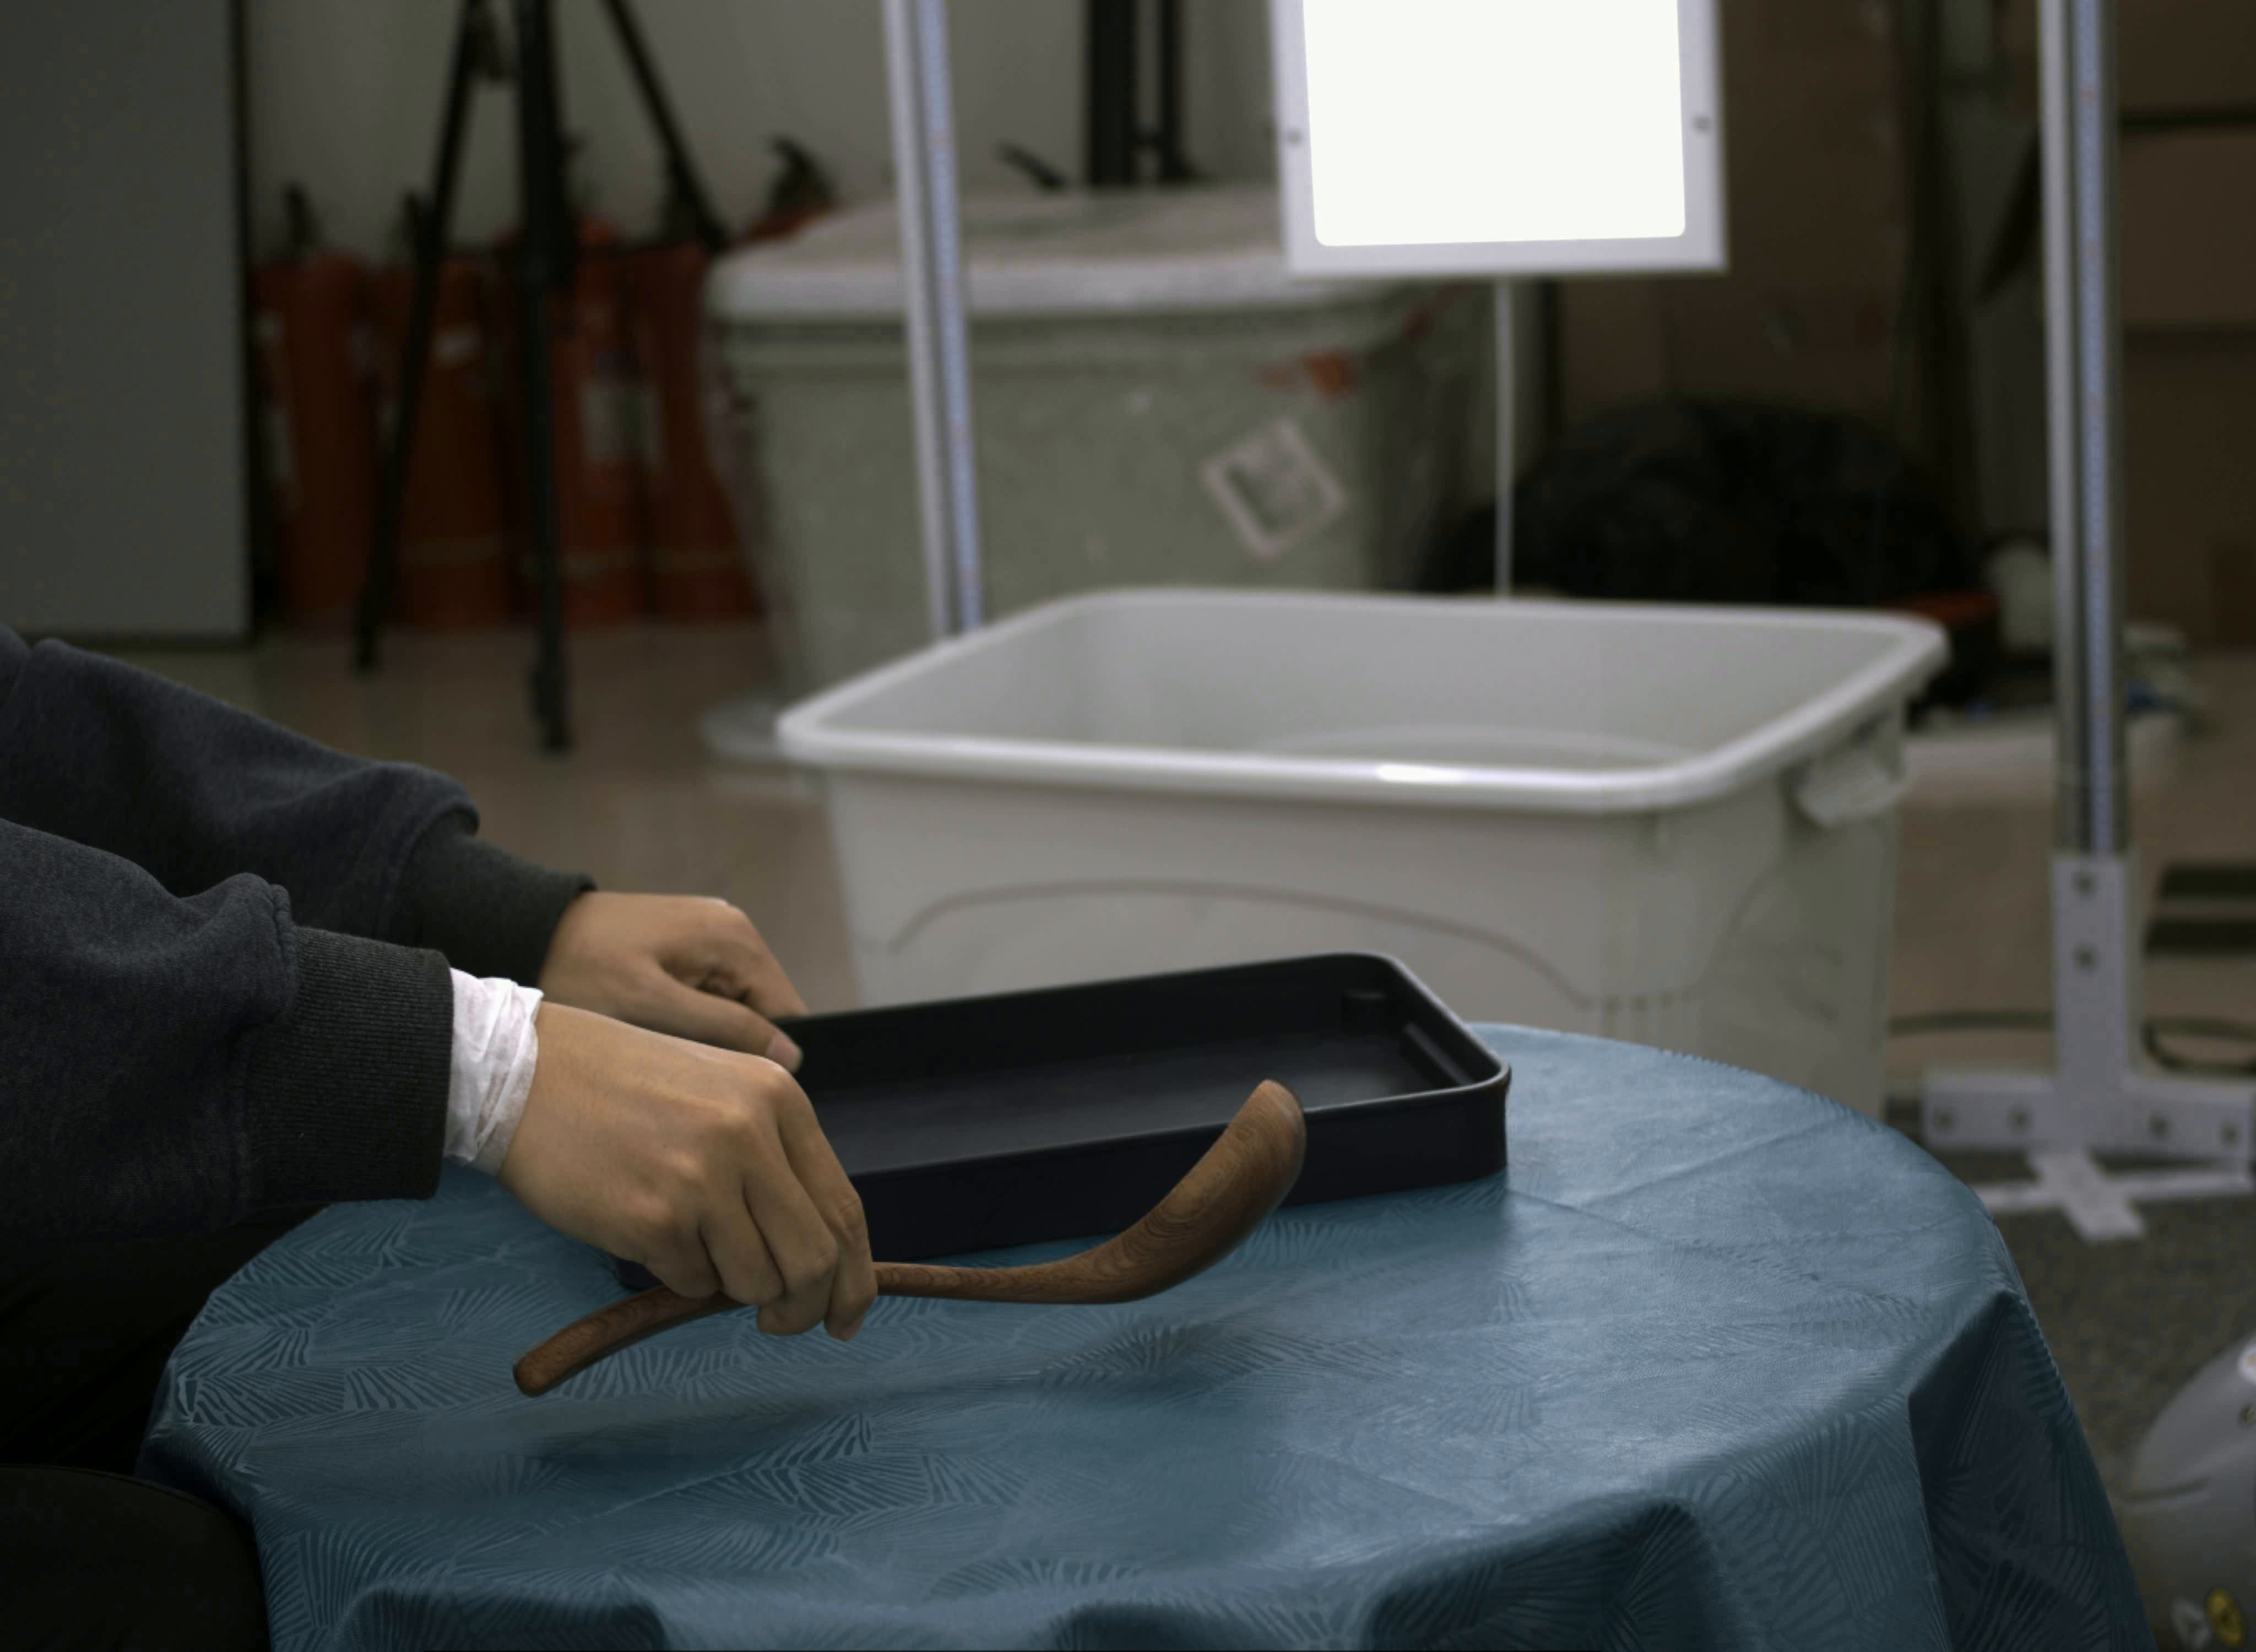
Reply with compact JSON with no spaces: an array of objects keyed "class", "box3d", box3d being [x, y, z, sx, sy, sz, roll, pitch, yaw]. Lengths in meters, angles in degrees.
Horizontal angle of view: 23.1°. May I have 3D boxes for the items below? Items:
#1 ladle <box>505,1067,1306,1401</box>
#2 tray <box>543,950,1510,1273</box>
[{"class":"ladle","box3d":[-0.069,0.127,1.719,0.258,0.065,0.077,-9,-16,-5]},{"class":"tray","box3d":[-0.038,0.097,1.931,0.314,0.037,0.185,-6,15,-10]}]
